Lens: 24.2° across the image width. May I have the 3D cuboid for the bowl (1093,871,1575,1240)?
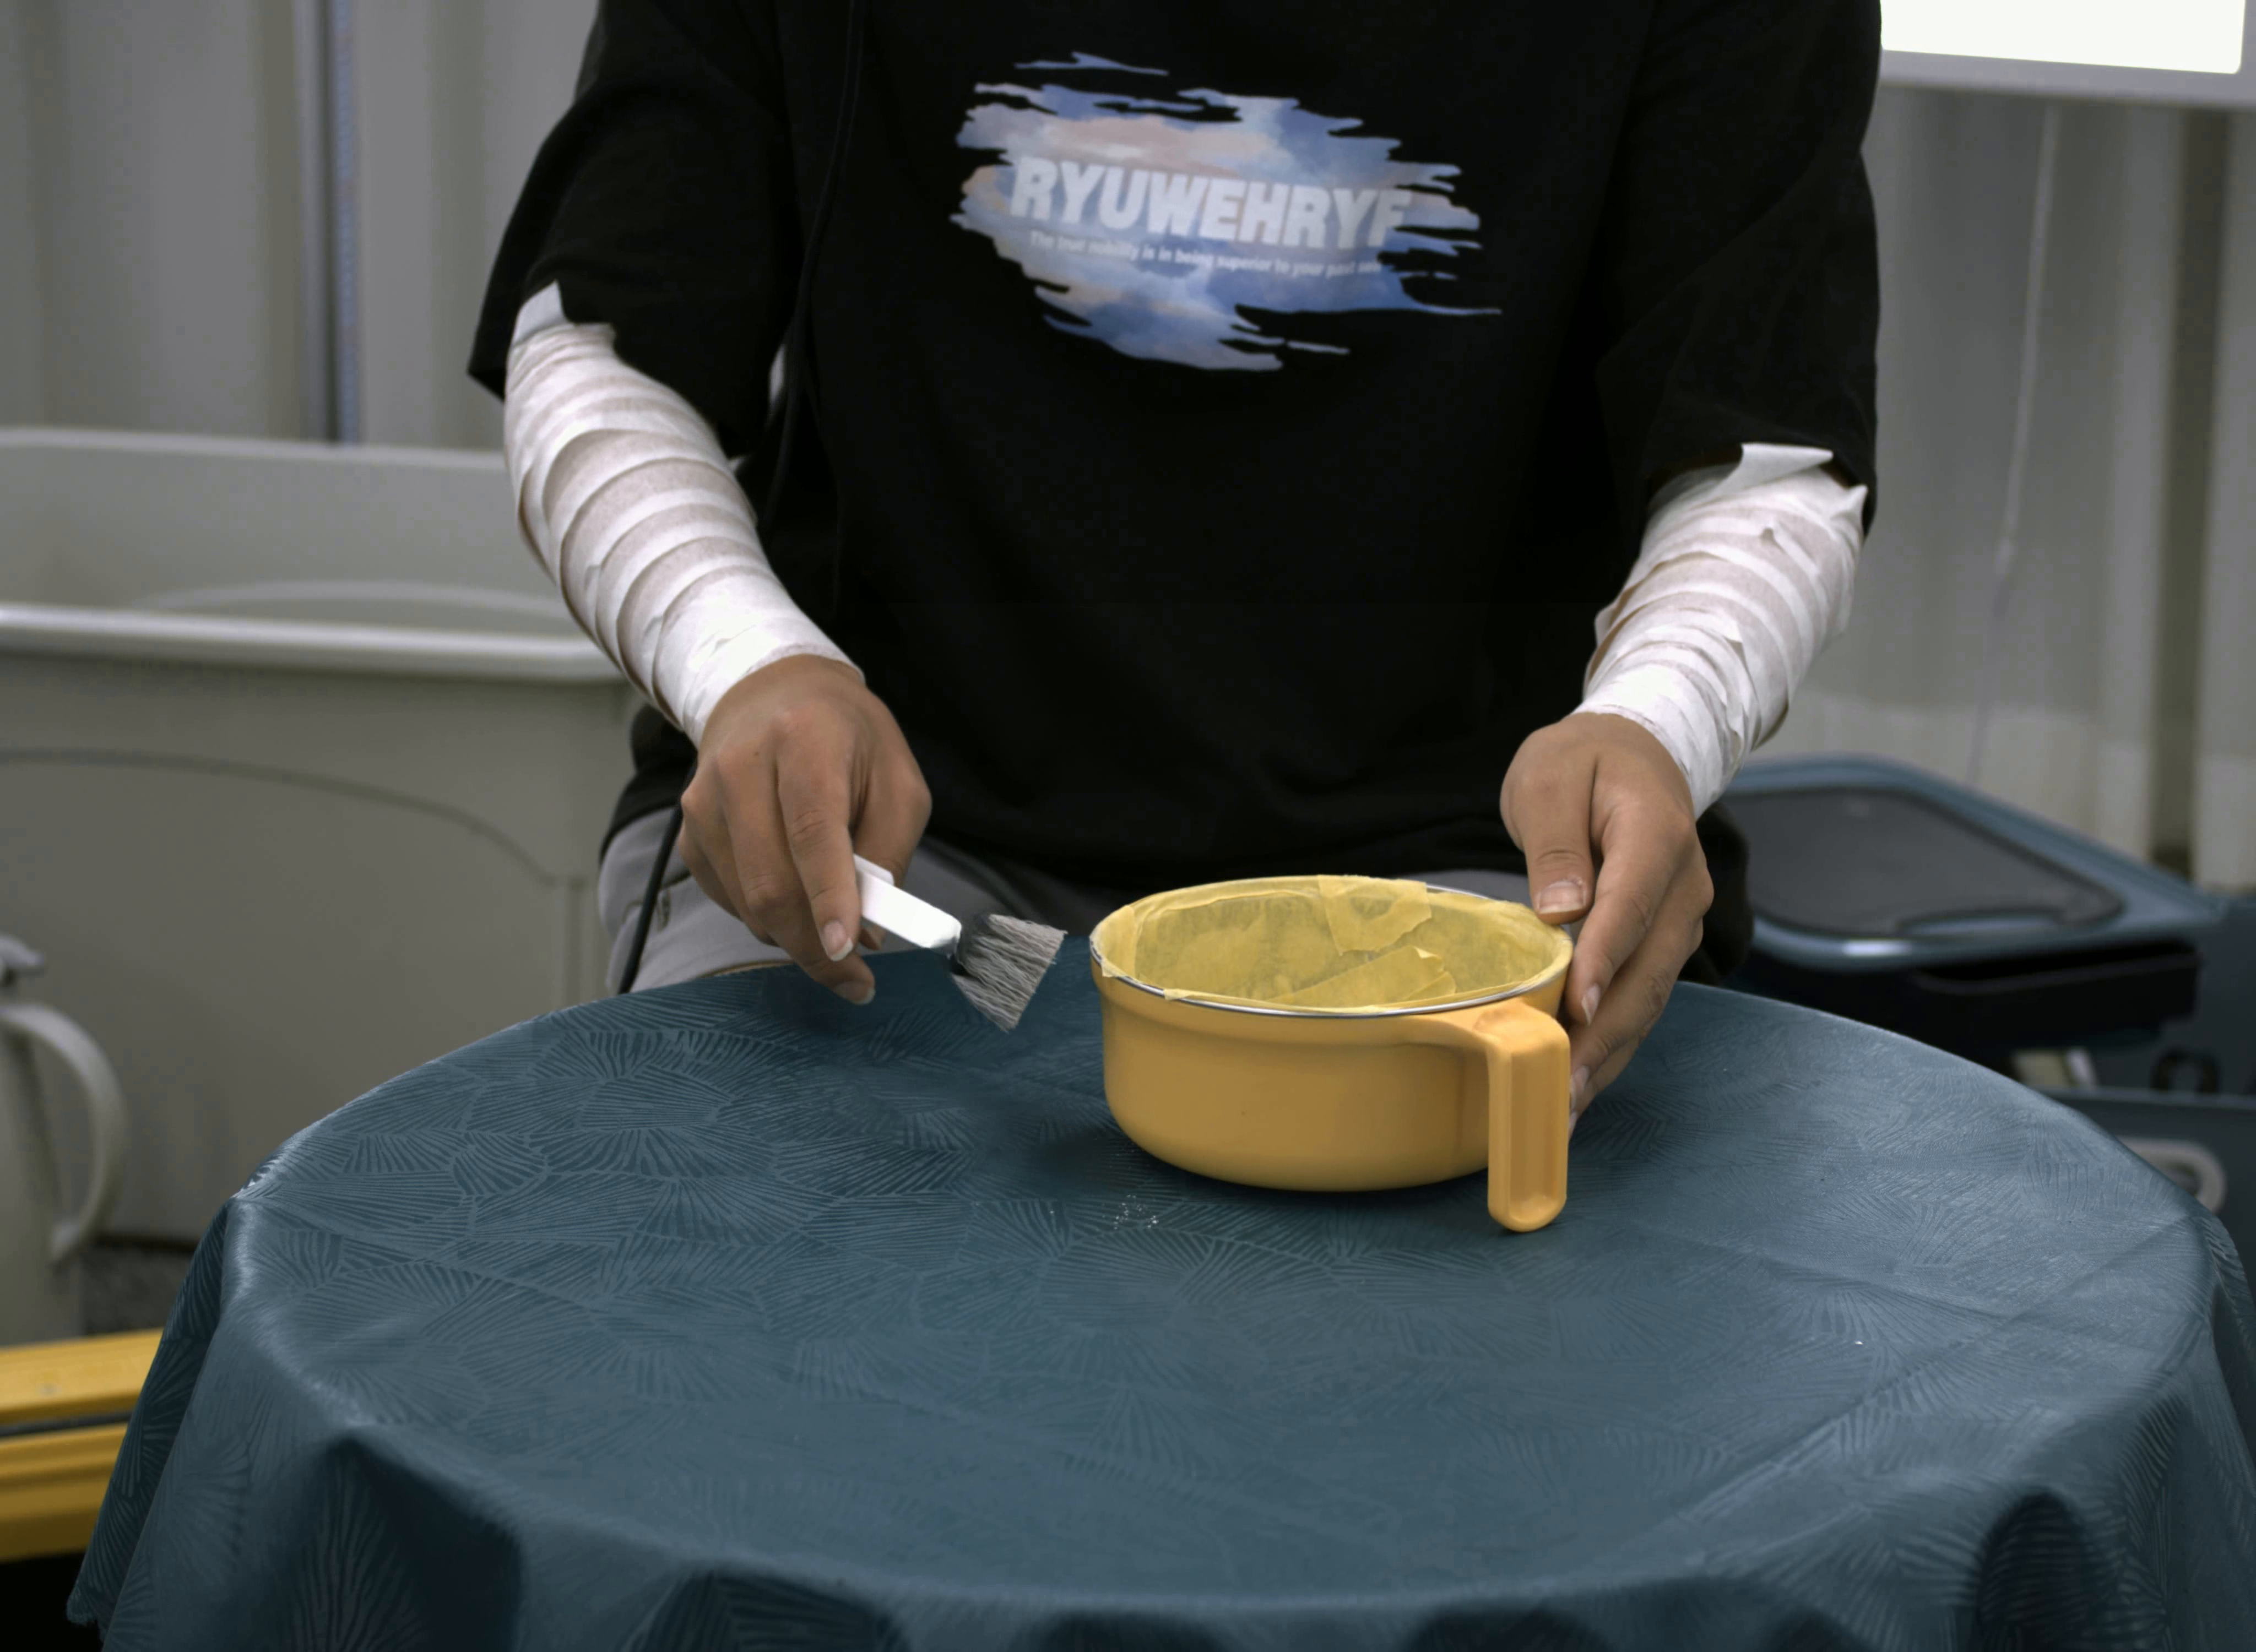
[{"bbox_3d":[0.070,0.070,1.651,0.154,0.075,0.177,-6,17,-38],"label":"bowl"}]

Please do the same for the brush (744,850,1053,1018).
[{"bbox_3d":[-0.074,0.034,1.730,0.050,0.034,0.242,27,-6,-18],"label":"brush"}]
